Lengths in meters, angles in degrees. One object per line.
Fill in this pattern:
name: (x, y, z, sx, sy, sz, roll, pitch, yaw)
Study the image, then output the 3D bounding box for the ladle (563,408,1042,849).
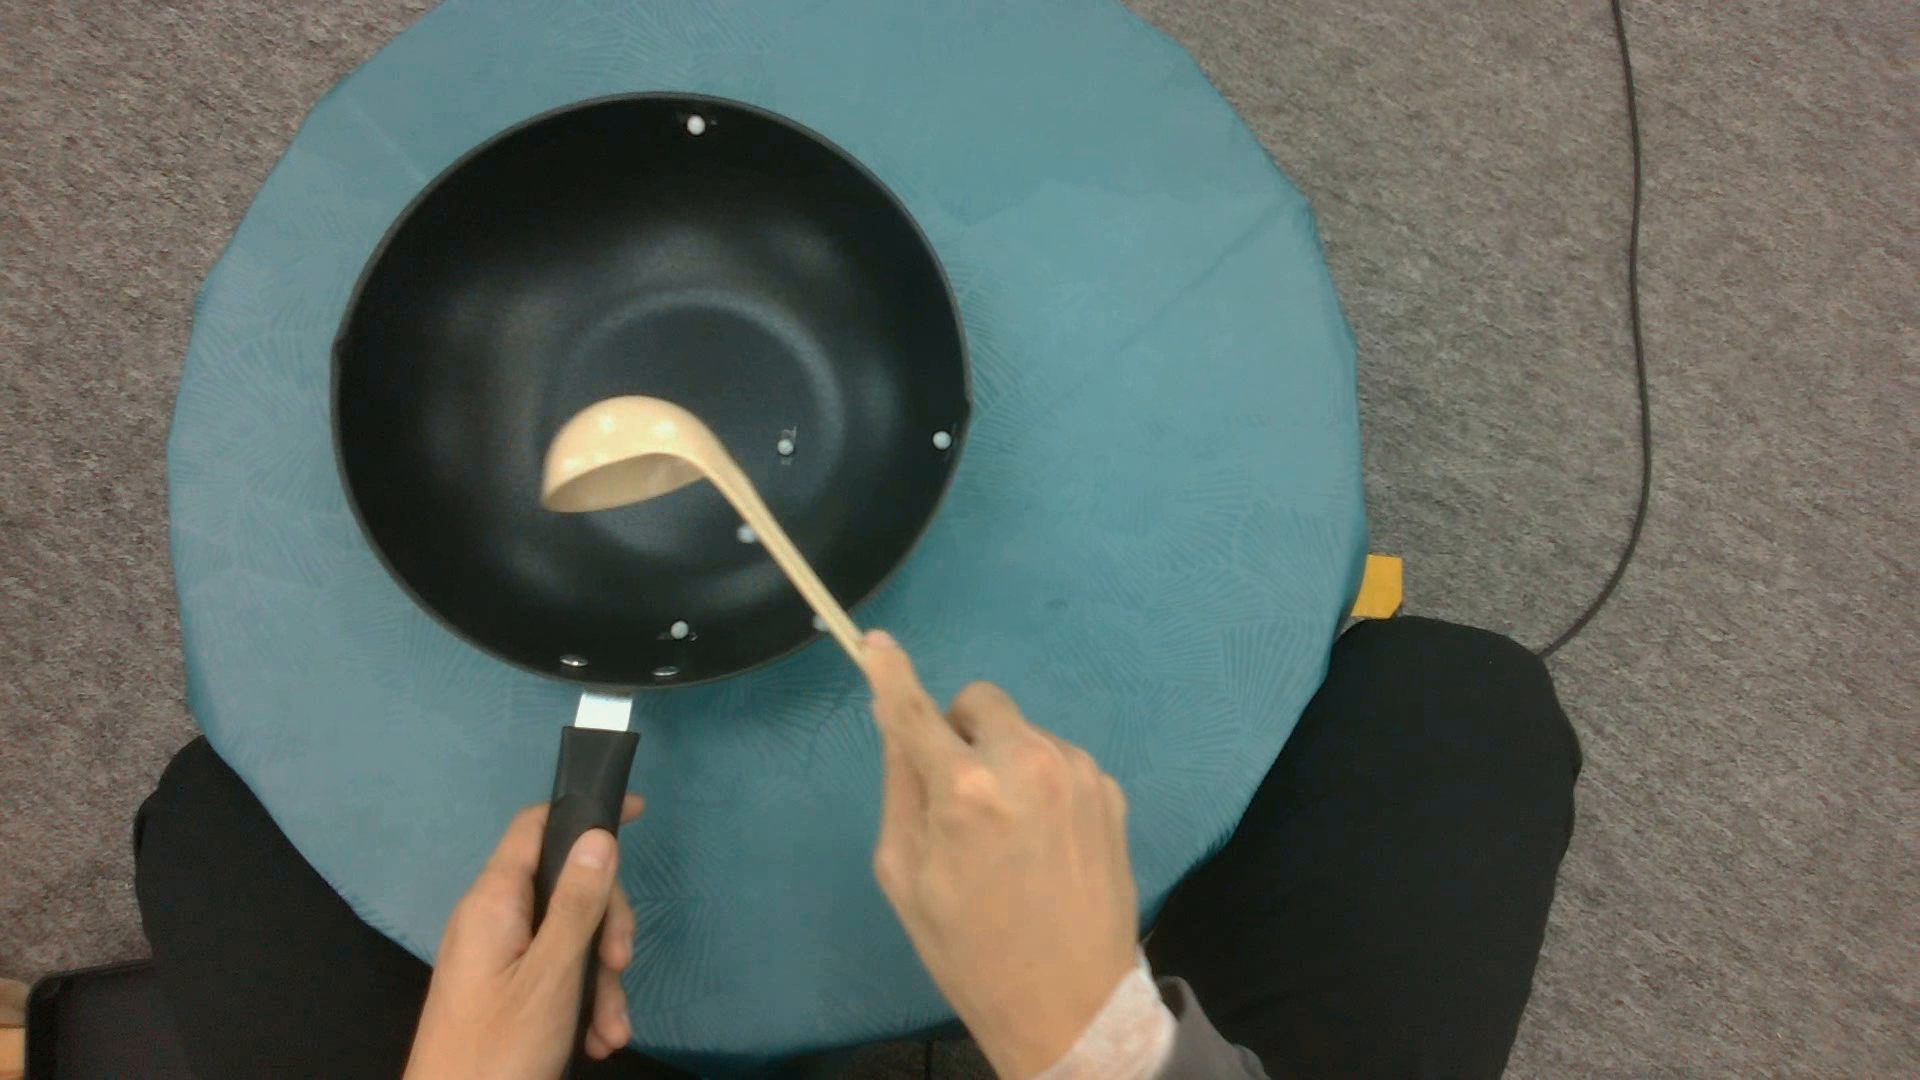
ladle: (-0.071, 0.047, 0.553, 0.072, 0.072, 0.255, -47, 68, 16)

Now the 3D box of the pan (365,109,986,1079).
pan: (-0.142, 0.028, 0.651, 0.288, 0.087, 0.464, 6, 79, 1)
